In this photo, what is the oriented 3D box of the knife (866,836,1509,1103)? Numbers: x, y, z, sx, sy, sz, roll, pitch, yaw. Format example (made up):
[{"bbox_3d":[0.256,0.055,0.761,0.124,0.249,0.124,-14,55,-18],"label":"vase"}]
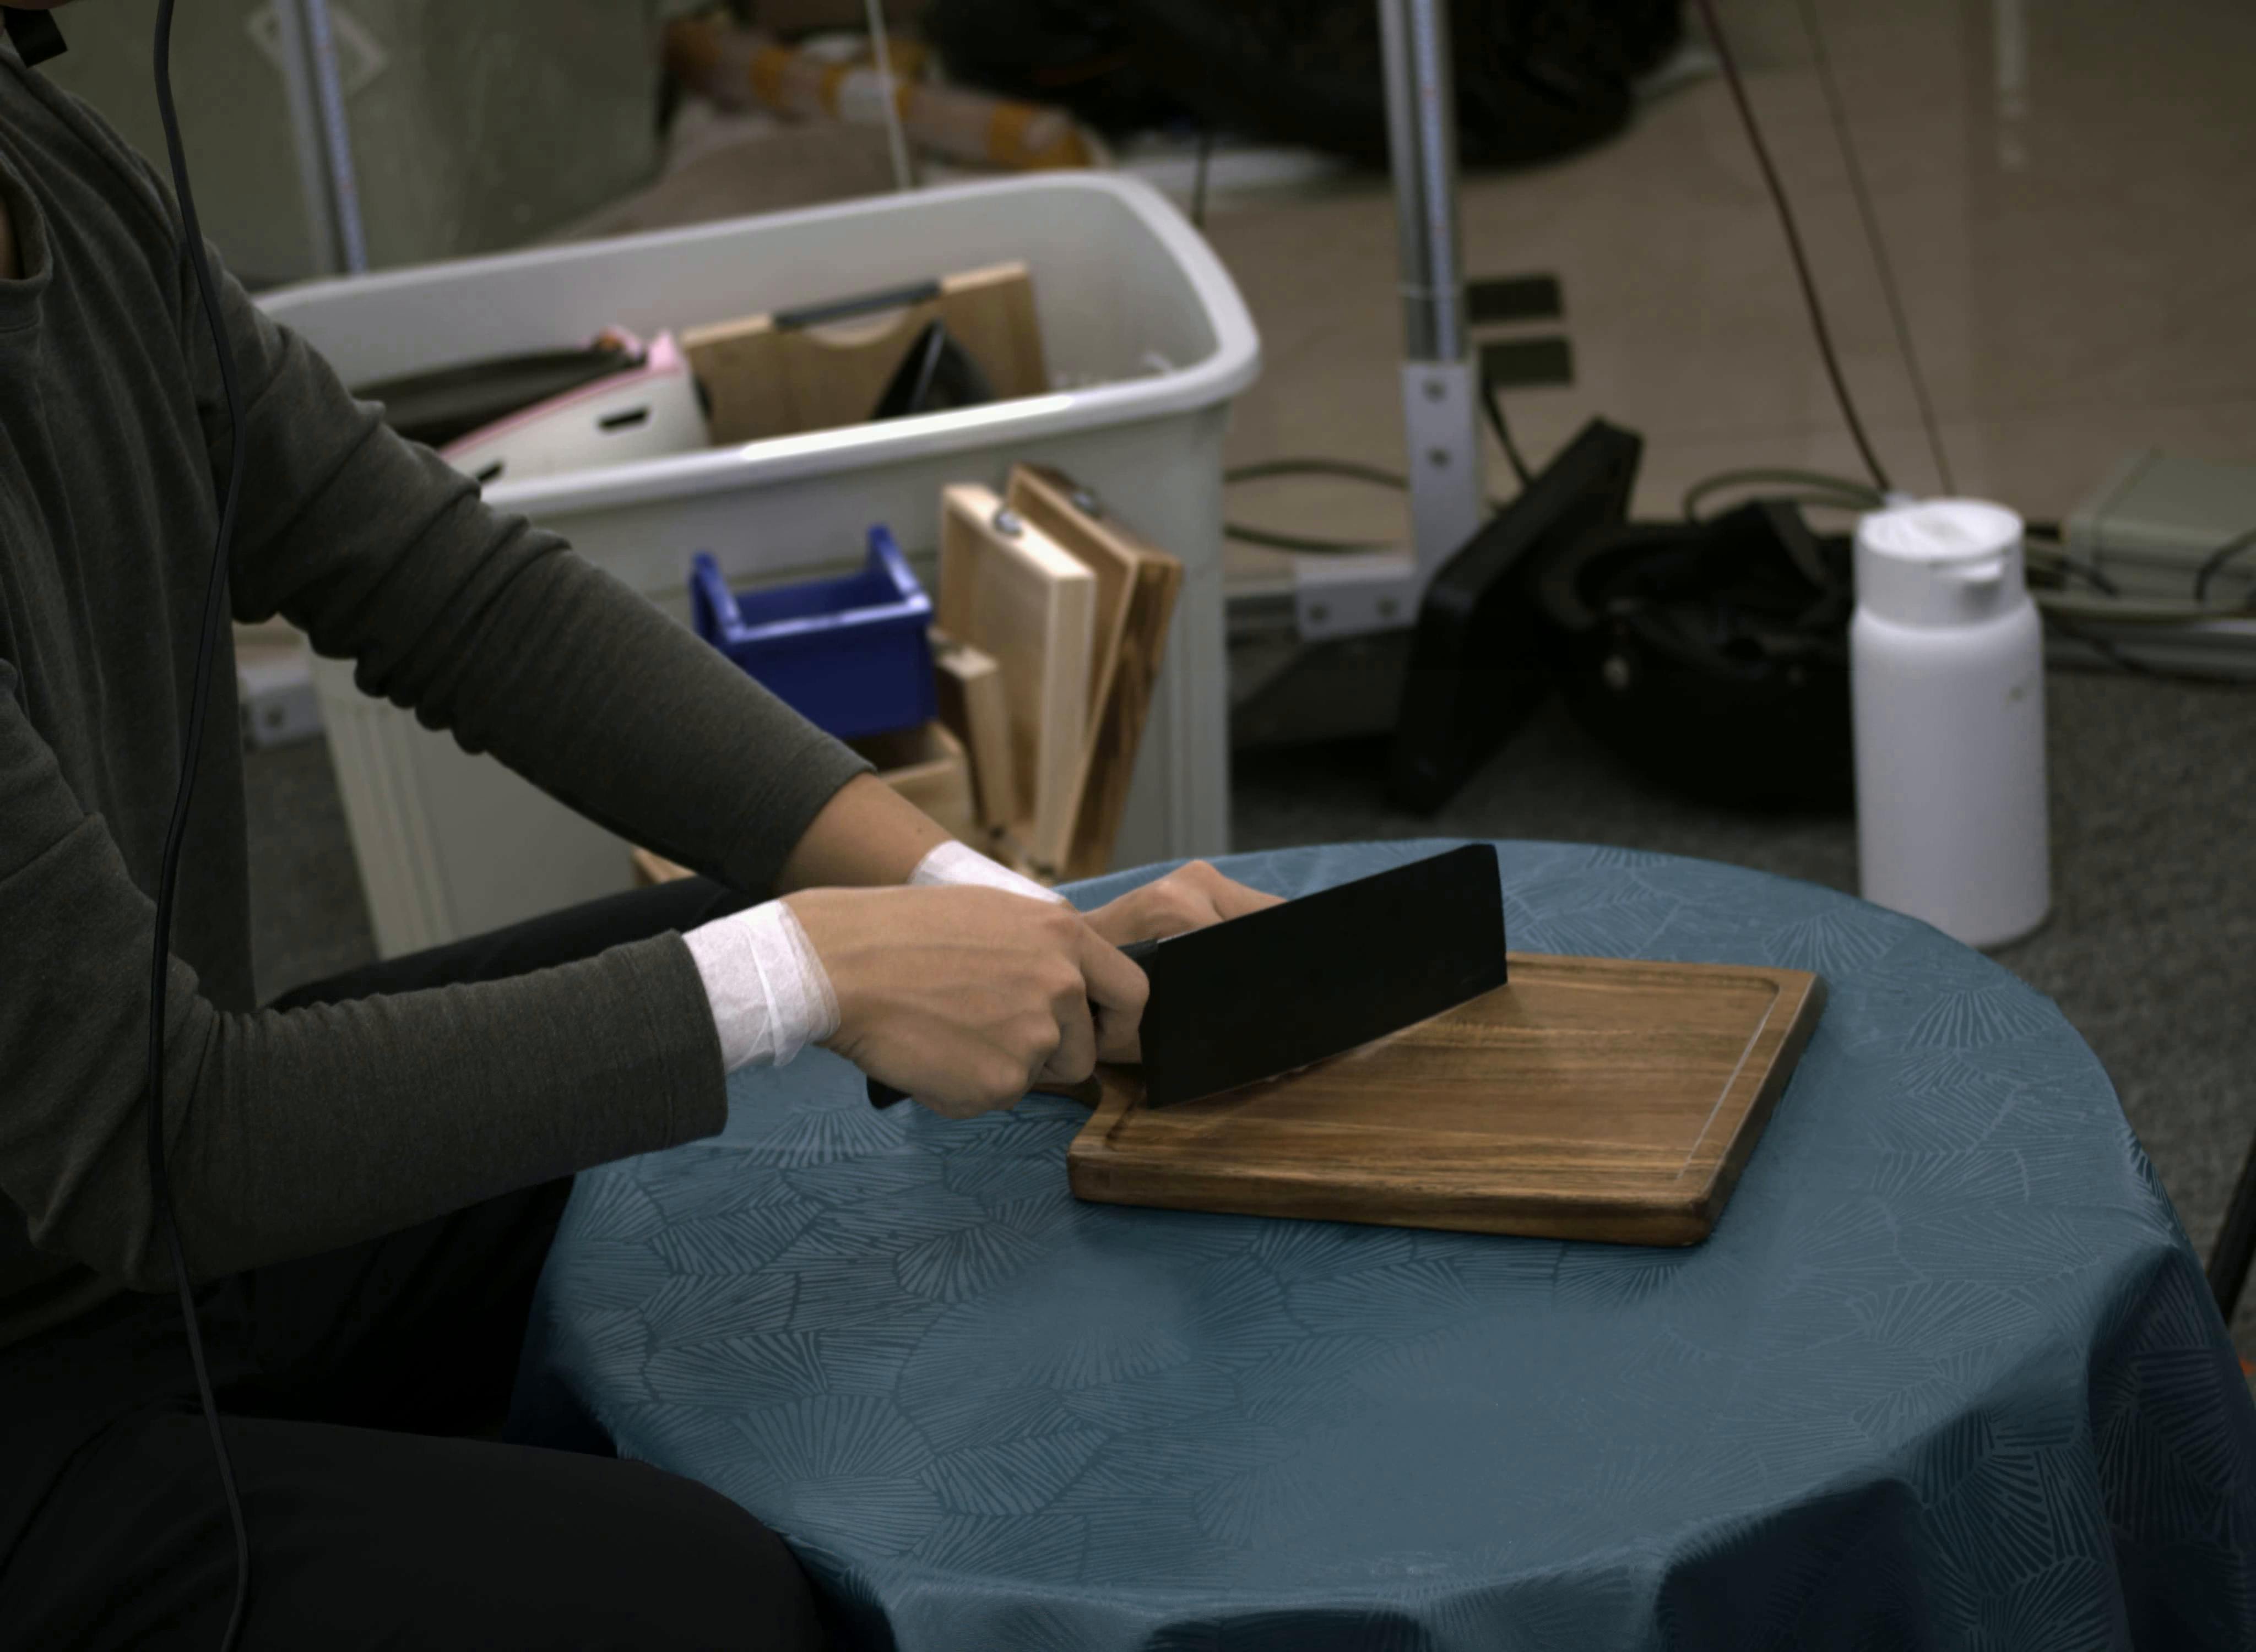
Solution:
[{"bbox_3d":[0.029,0.064,2.151,0.301,0.082,0.021,-11,15,-35],"label":"knife"}]

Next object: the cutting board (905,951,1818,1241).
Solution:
[{"bbox_3d":[0.077,0.096,2.200,0.351,0.023,0.198,3,26,20],"label":"cutting board"}]
